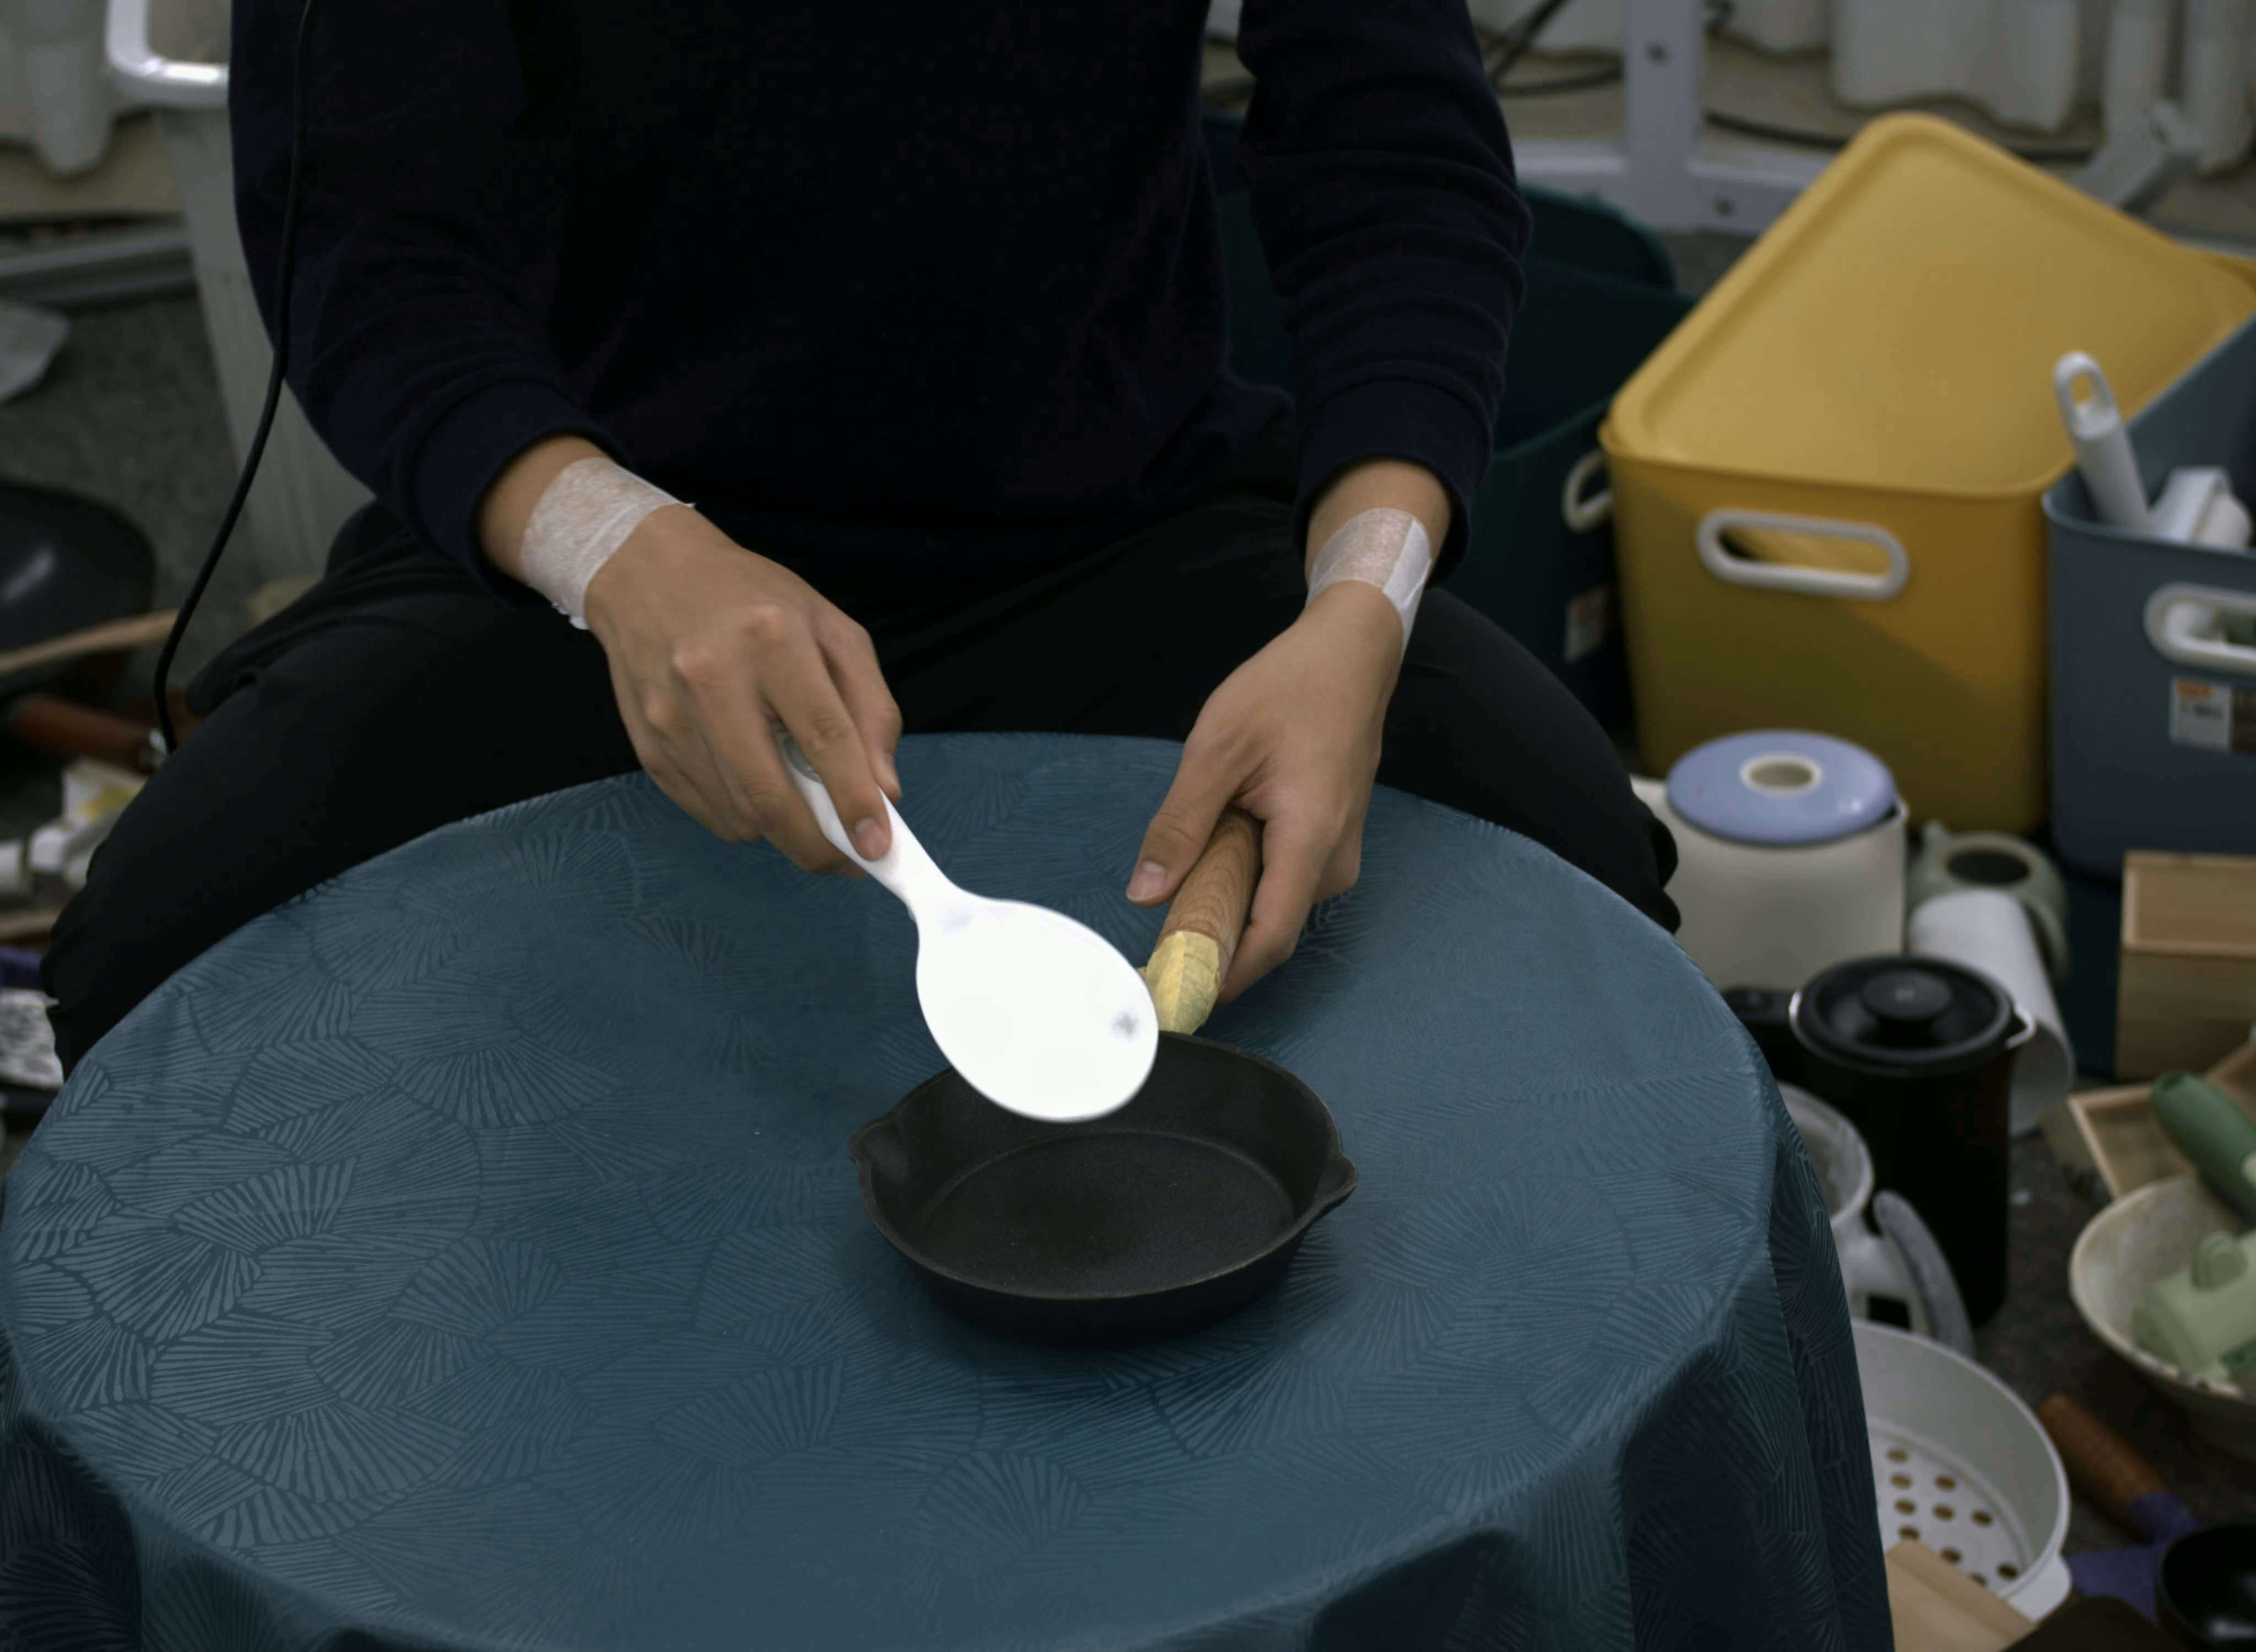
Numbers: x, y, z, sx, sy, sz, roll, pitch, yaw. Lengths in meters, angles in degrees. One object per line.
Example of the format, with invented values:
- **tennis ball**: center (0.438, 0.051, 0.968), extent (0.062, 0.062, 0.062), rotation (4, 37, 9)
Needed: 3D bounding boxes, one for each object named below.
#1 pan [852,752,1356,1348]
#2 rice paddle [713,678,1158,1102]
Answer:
- **pan**: center (0.014, 0.072, 1.895), extent (0.168, 0.049, 0.330), rotation (5, 31, 15)
- **rice paddle**: center (-0.065, 0.021, 1.869), extent (0.069, 0.029, 0.206), rotation (-36, 57, -17)
